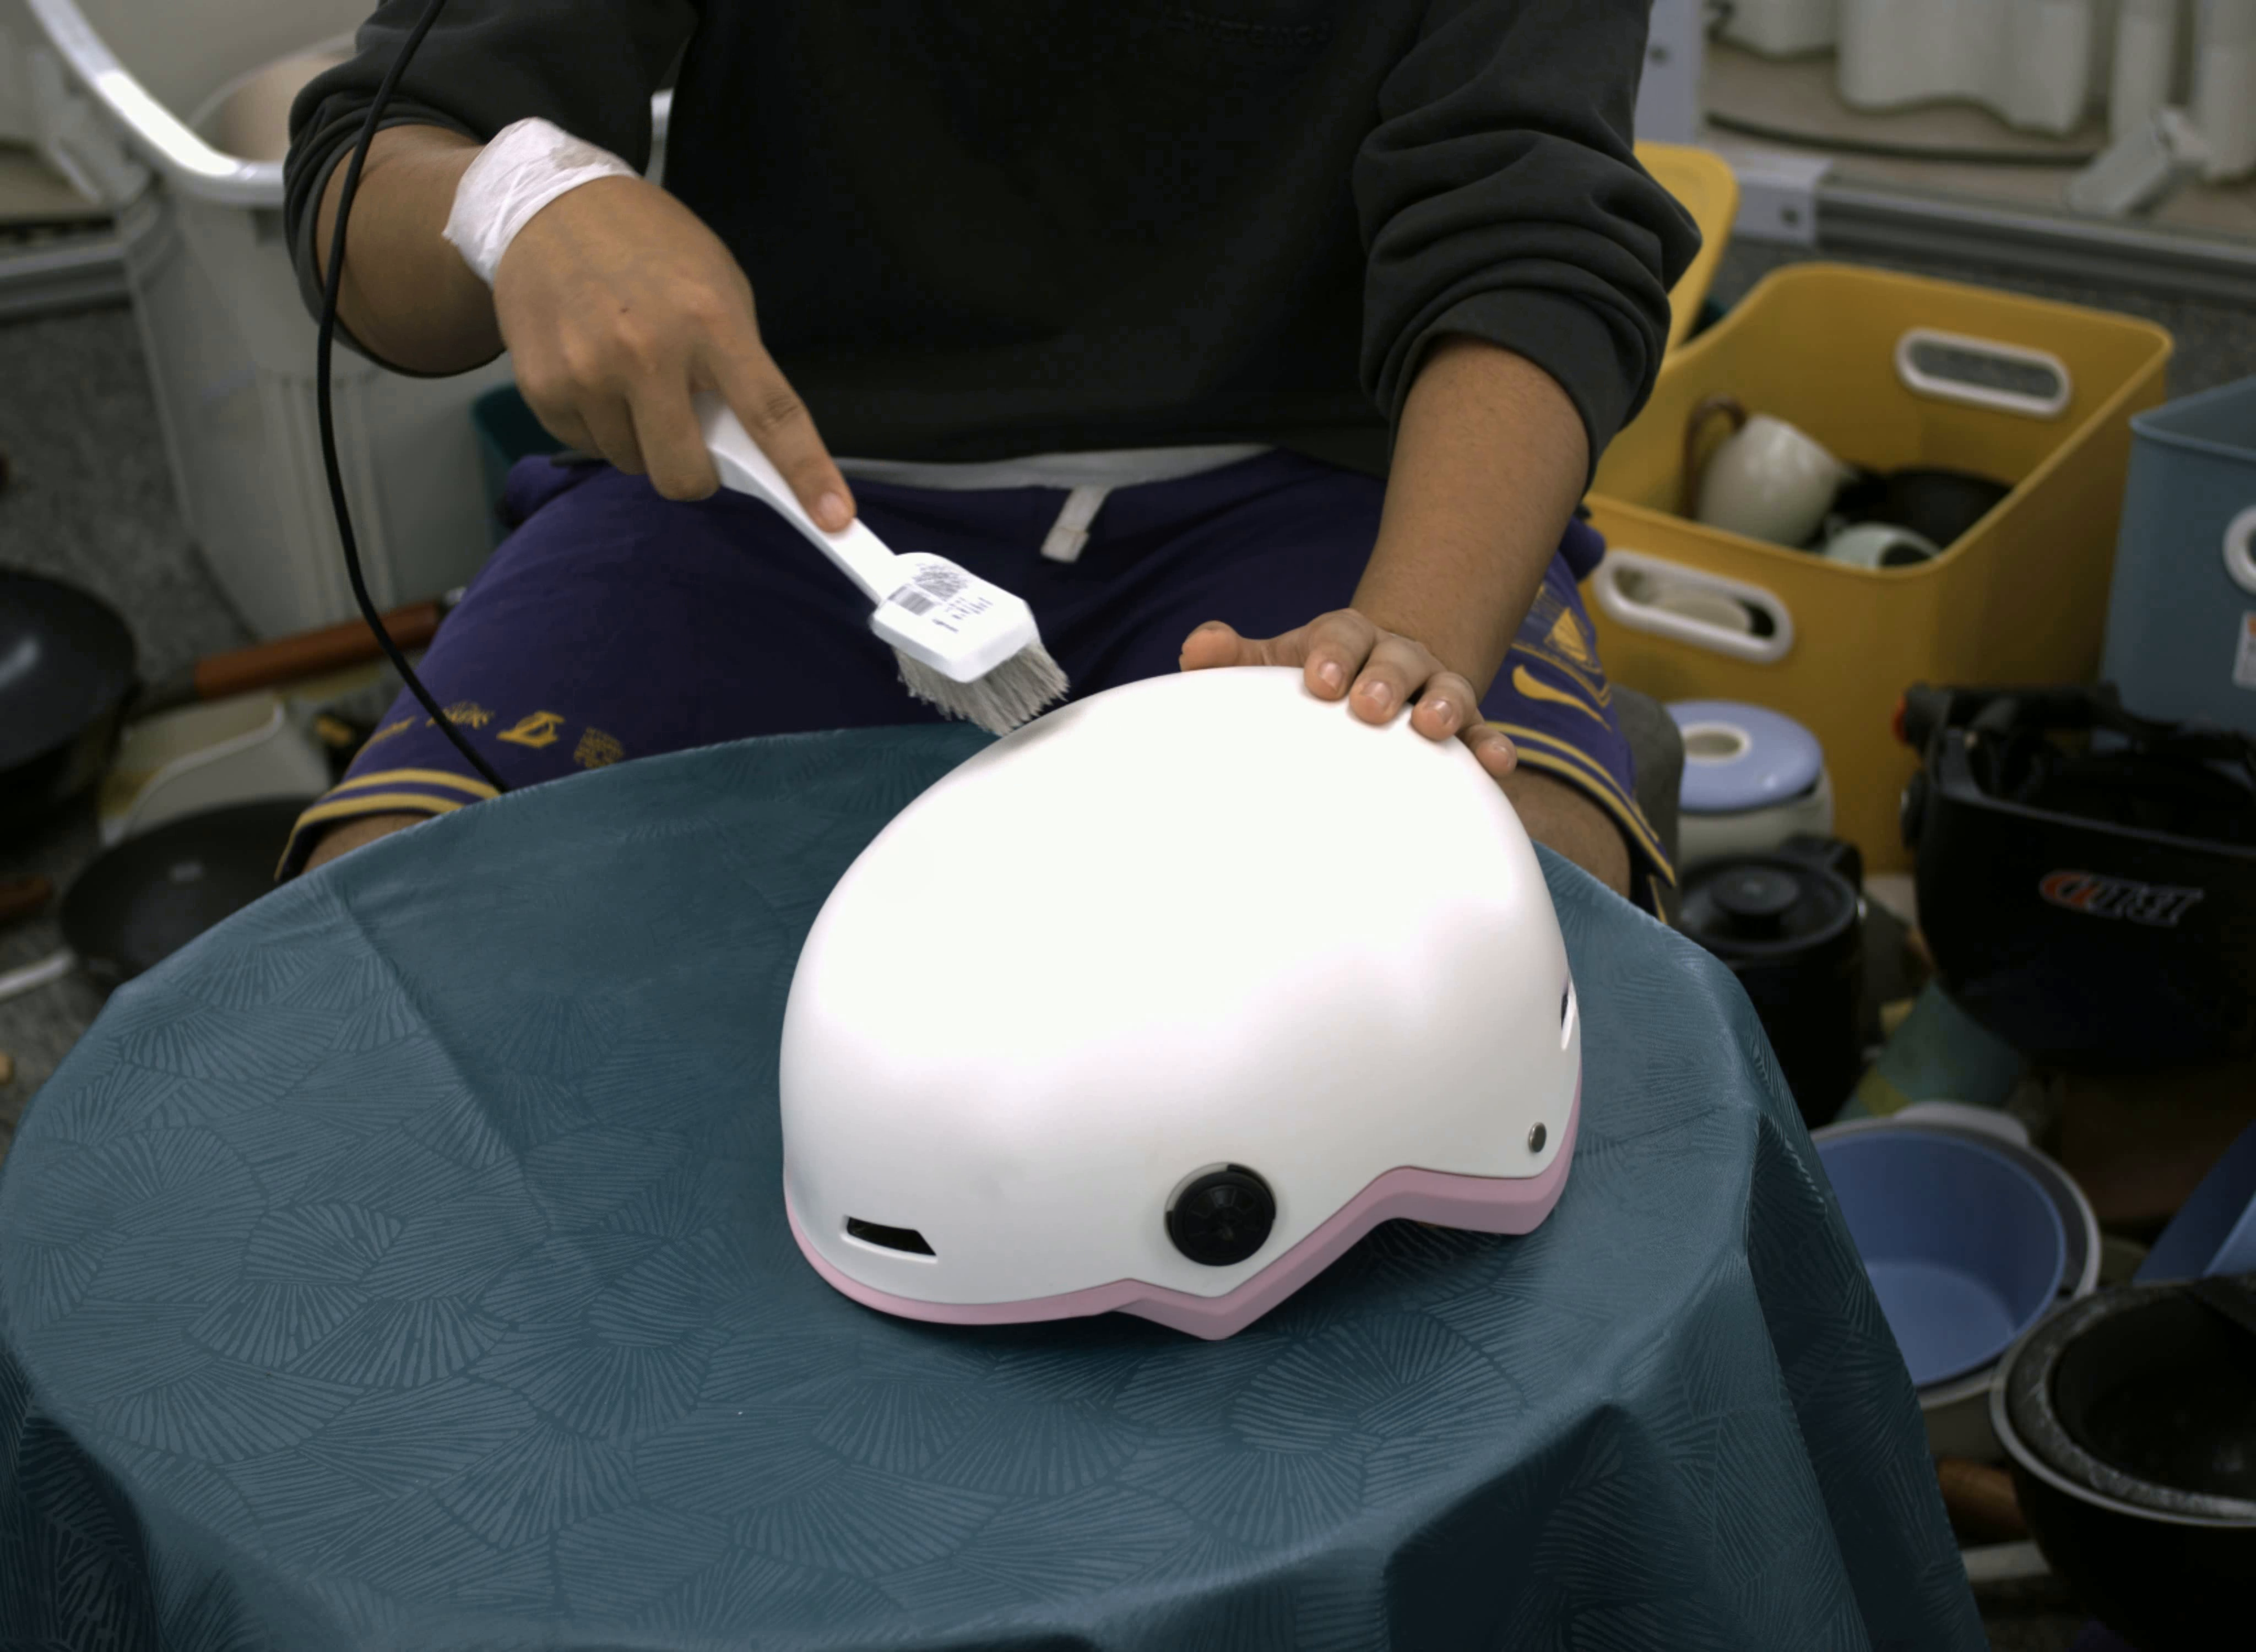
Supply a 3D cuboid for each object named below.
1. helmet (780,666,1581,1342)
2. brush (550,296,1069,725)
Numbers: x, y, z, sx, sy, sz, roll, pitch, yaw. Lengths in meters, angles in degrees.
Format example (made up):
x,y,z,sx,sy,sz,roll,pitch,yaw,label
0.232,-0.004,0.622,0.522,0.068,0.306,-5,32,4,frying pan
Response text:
x,y,z,sx,sy,sz,roll,pitch,yaw,label
0.014,0.042,1.839,0.269,0.165,0.239,-11,28,-15,helmet
-0.109,-0.106,1.889,0.035,0.049,0.244,-40,54,-19,brush
